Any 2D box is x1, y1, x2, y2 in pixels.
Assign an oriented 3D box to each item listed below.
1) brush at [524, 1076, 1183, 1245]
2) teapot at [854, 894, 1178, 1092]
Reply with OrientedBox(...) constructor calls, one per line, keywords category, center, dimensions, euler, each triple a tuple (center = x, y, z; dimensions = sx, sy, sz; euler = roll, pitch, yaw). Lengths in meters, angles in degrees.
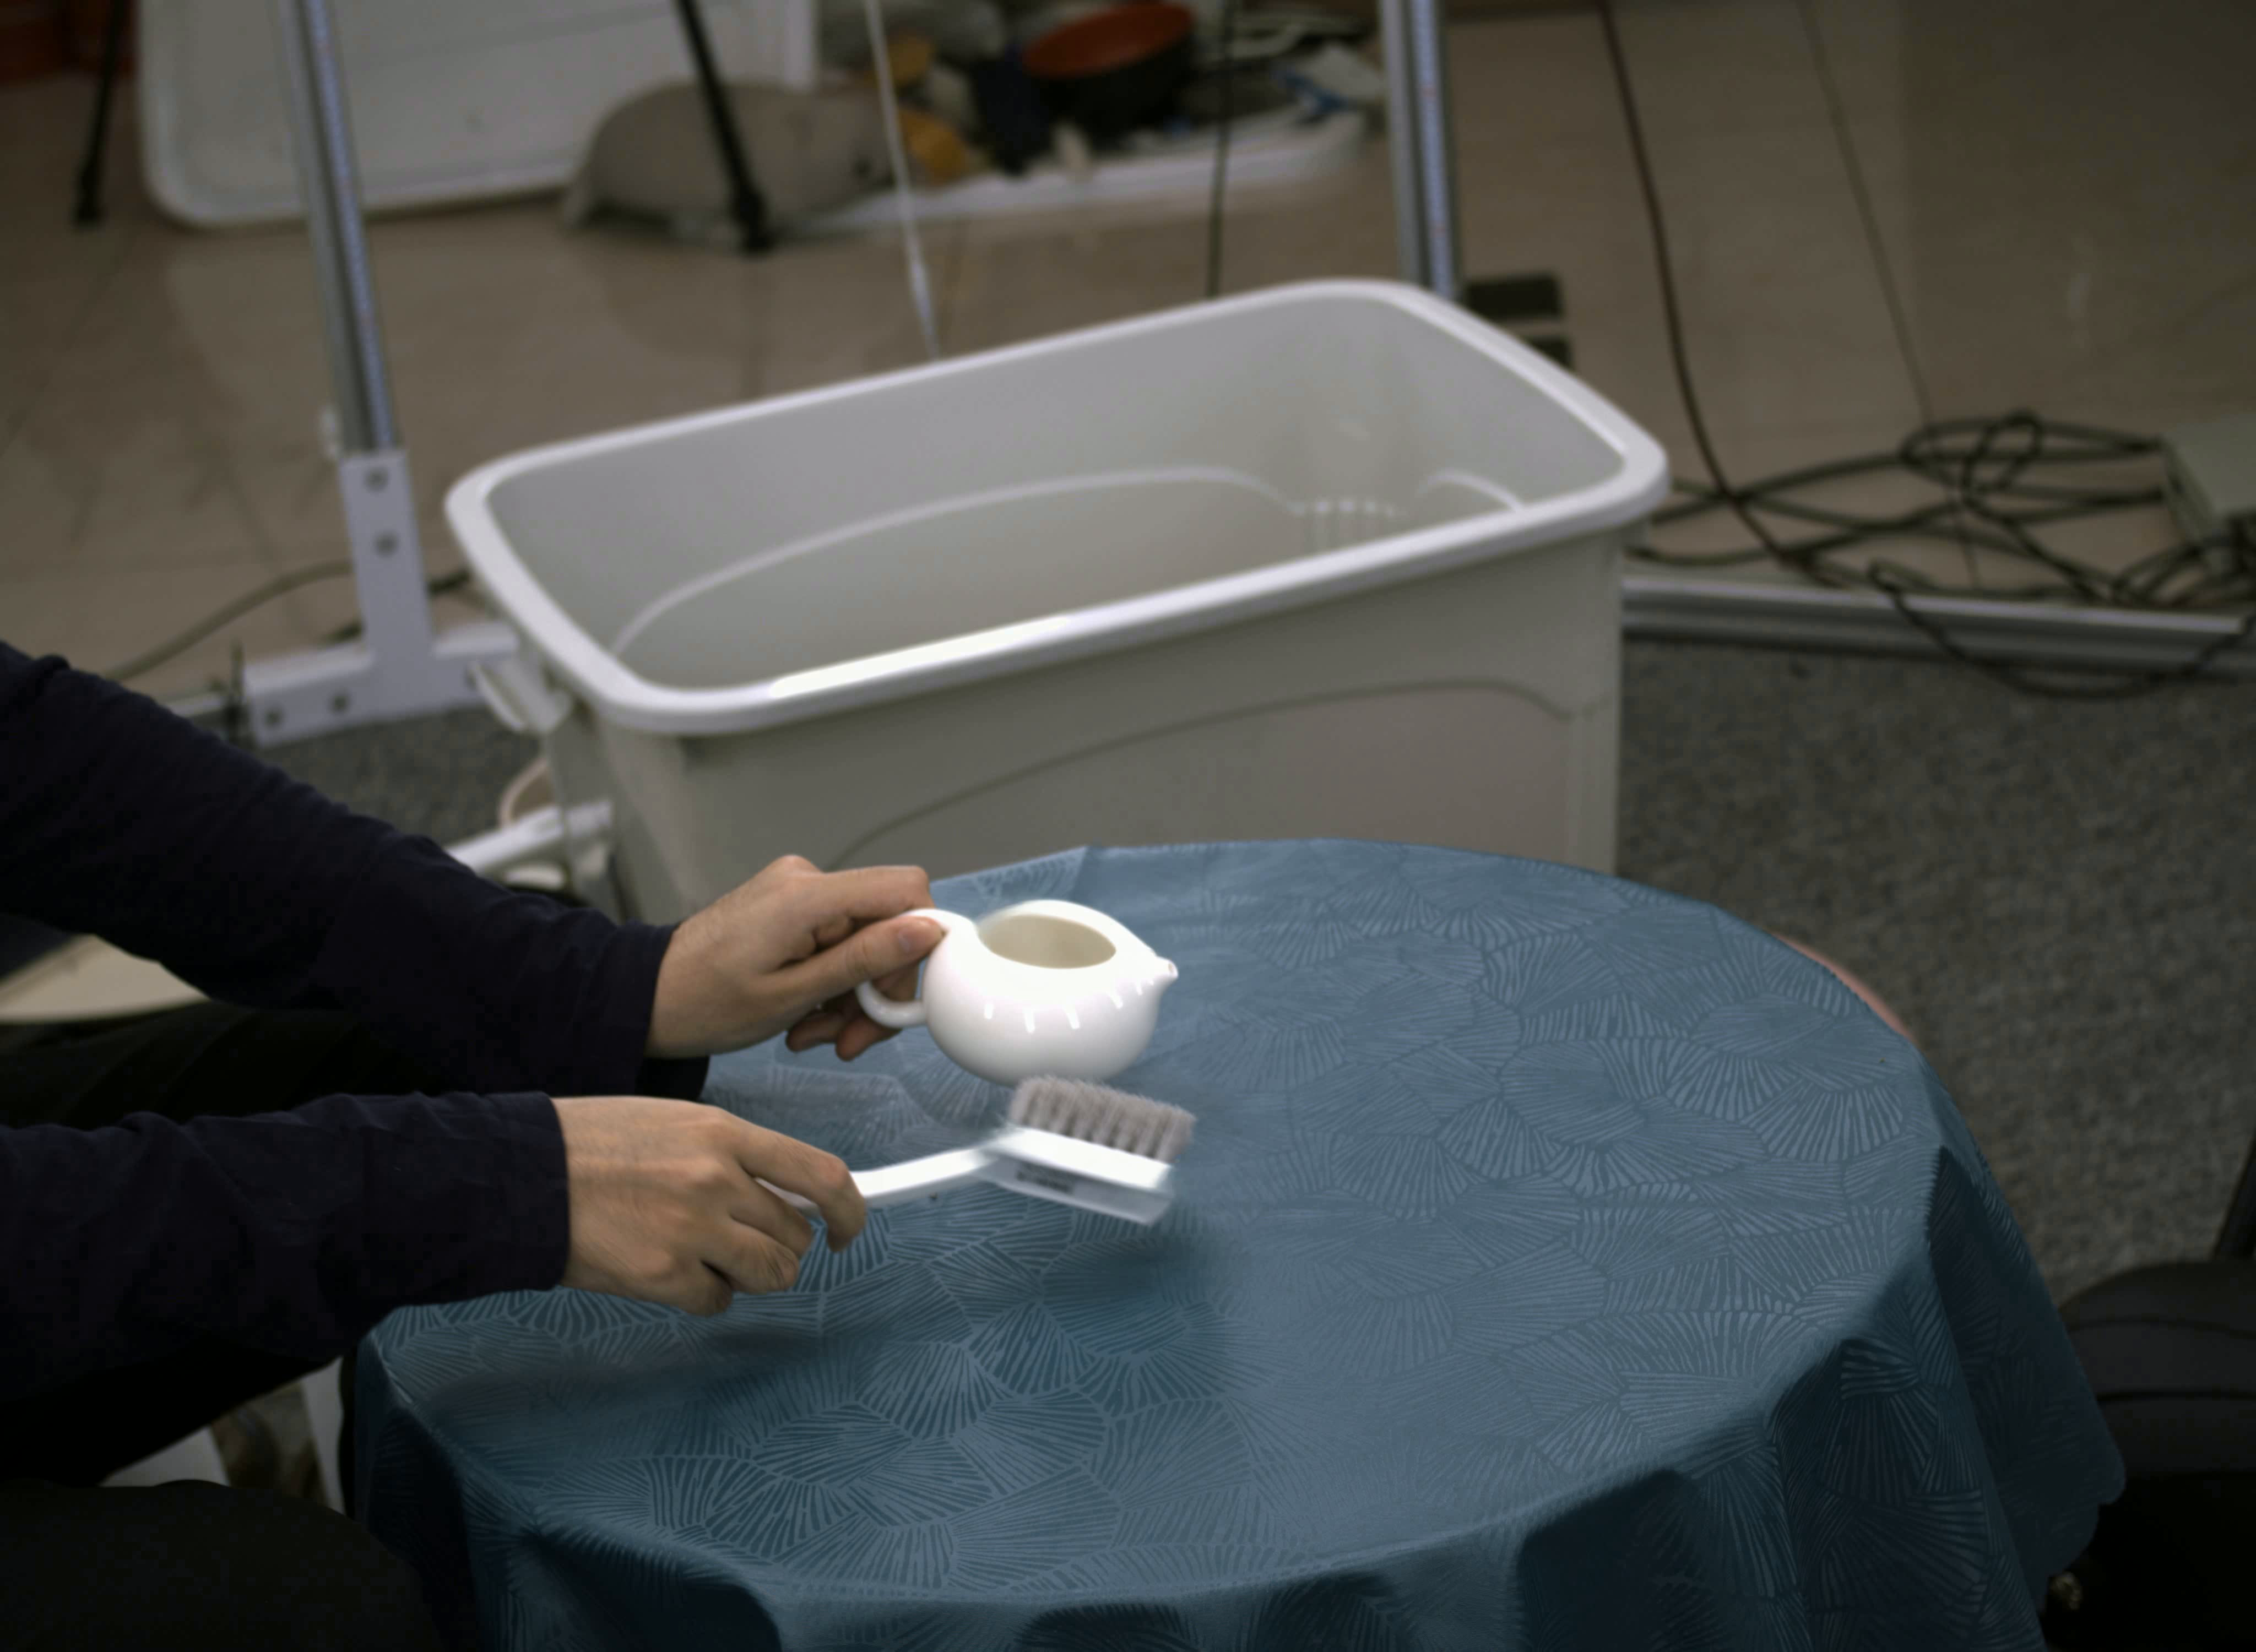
OrientedBox(category="brush", center=(-0.100, 0.122, 2.078), dimensions=(0.243, 0.050, 0.035), euler=(-3, -18, -6))
OrientedBox(category="teapot", center=(-0.044, 0.063, 2.191), dimensions=(0.127, 0.057, 0.092), euler=(9, 30, 6))
